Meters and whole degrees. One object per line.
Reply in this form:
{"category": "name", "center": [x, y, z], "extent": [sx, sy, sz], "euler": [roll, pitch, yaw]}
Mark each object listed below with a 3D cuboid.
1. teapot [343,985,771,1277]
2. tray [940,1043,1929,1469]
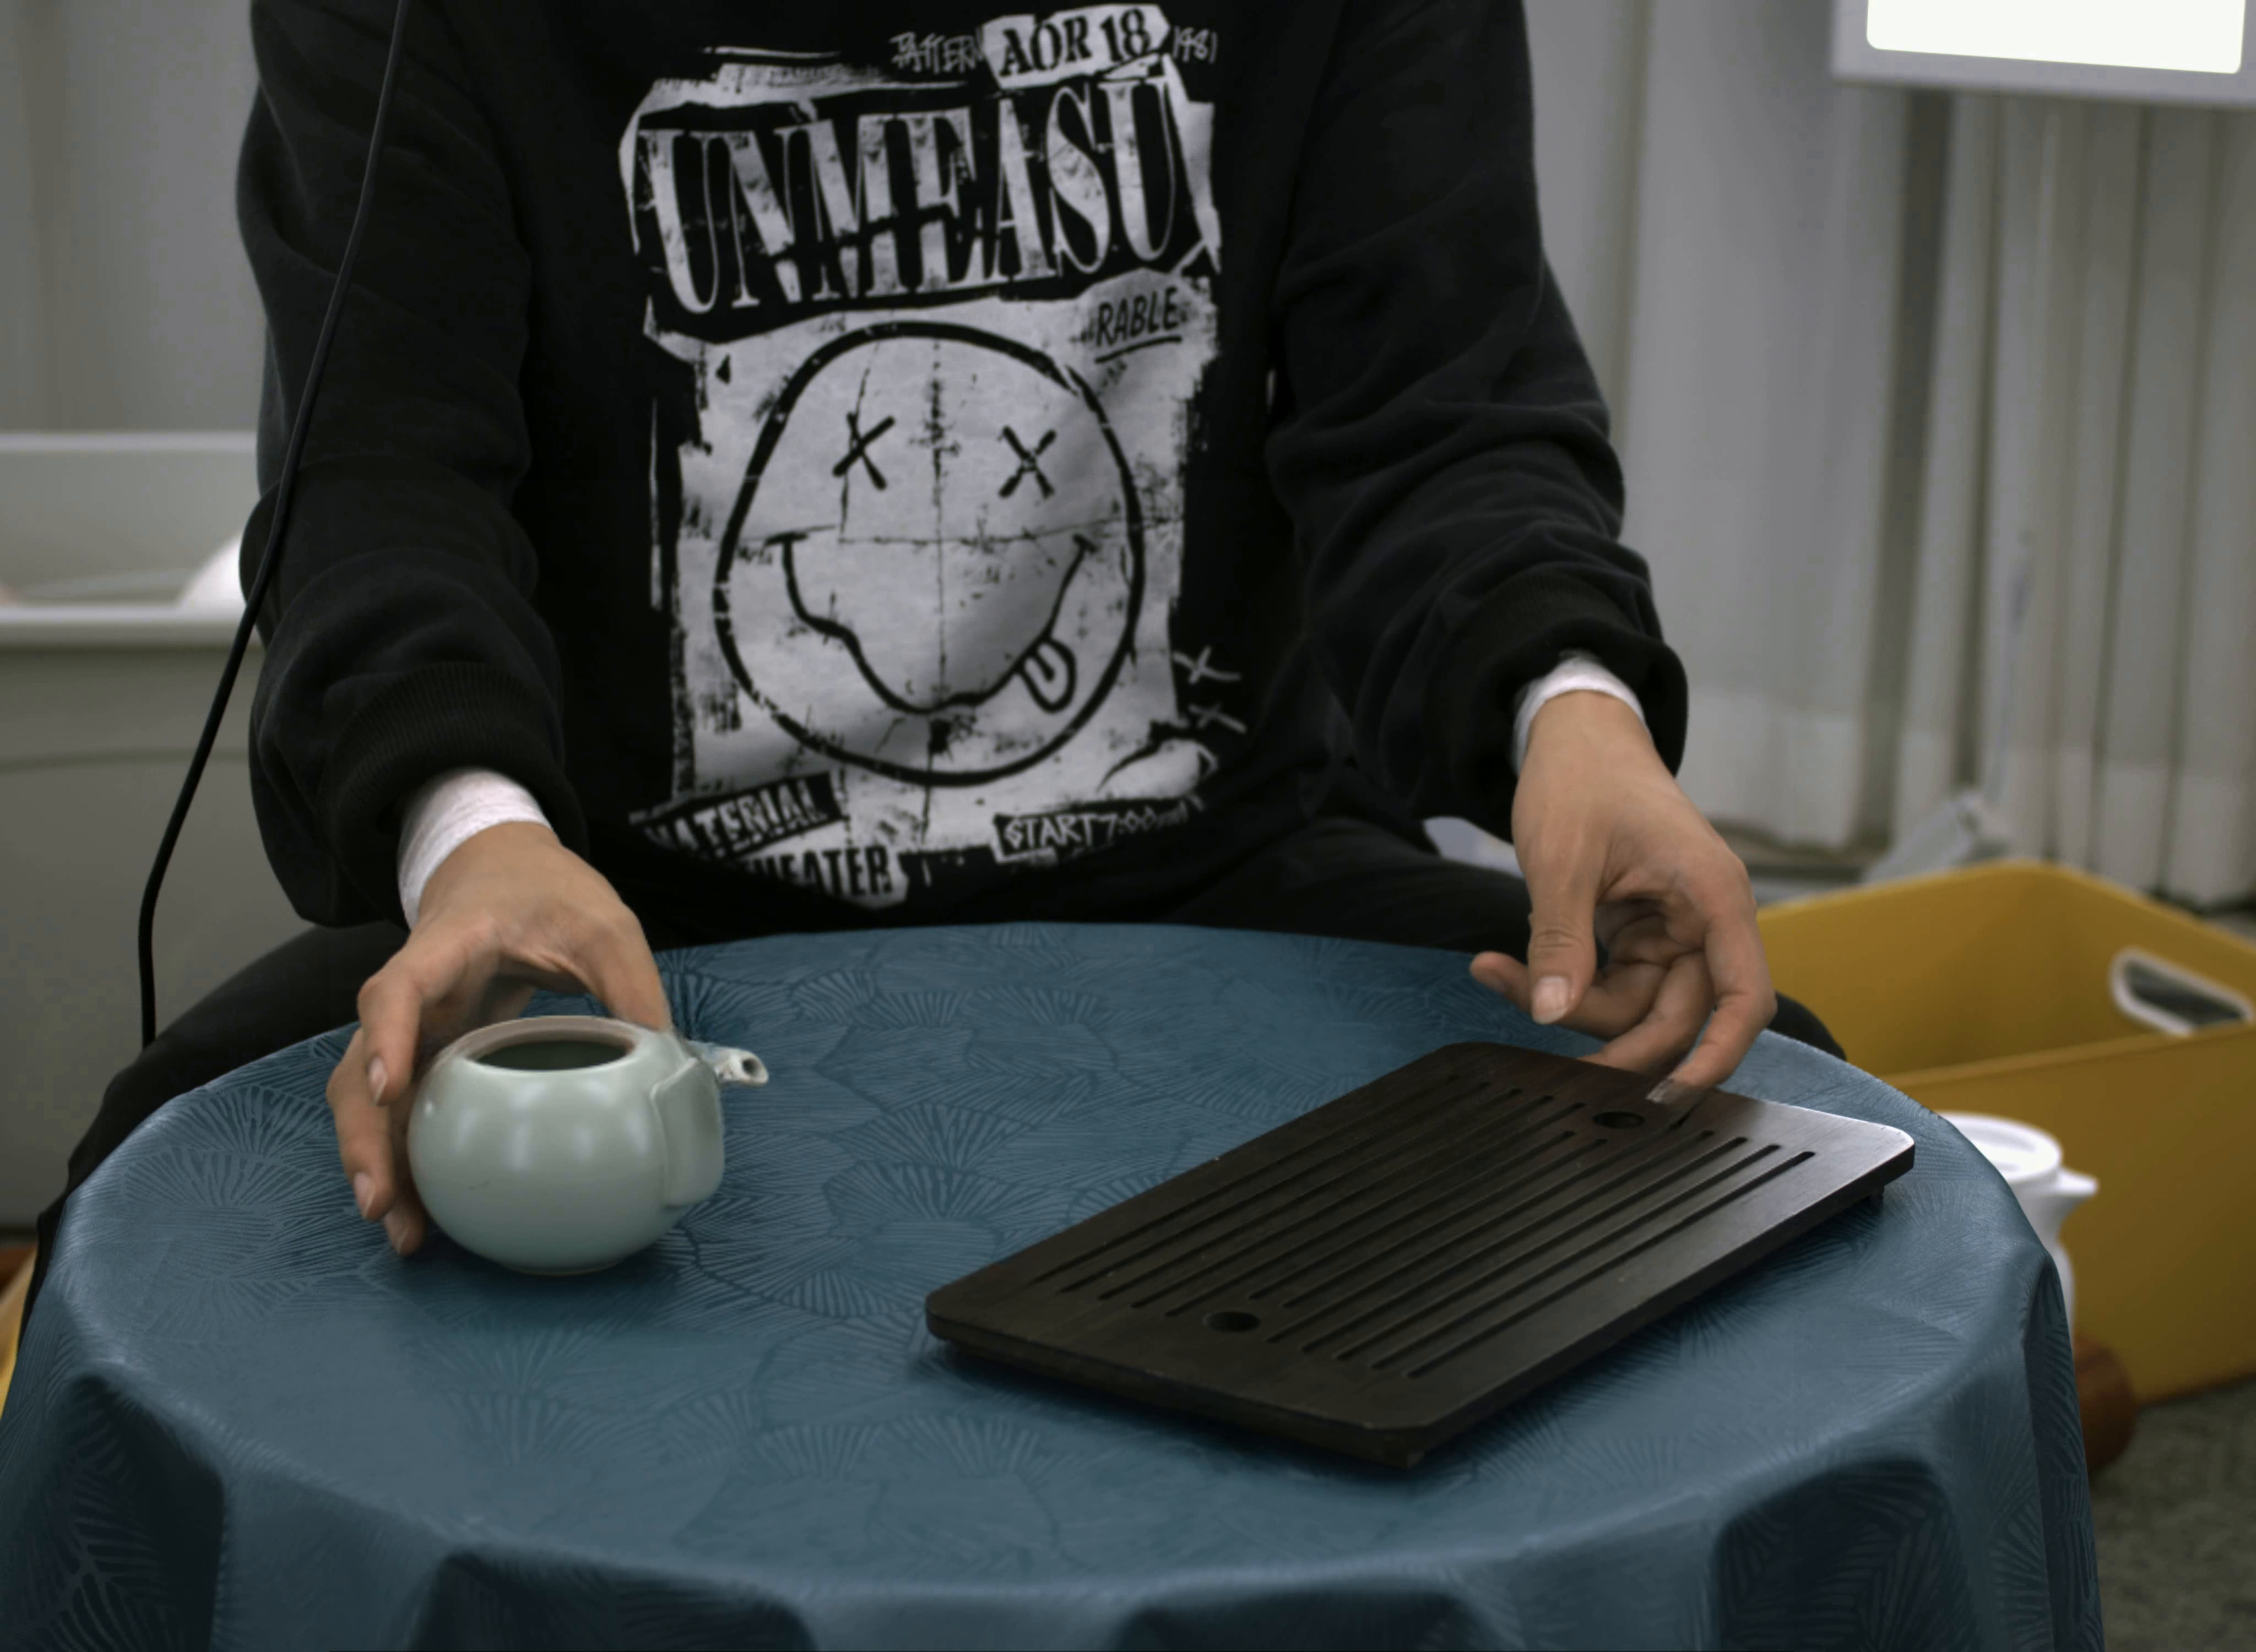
{"category": "teapot", "center": [-0.169, 0.092, 1.555], "extent": [0.142, 0.075, 0.088], "euler": [10, 18, 25]}
{"category": "tray", "center": [0.097, 0.123, 1.554], "extent": [0.168, 0.019, 0.307], "euler": [11, 18, 33]}
